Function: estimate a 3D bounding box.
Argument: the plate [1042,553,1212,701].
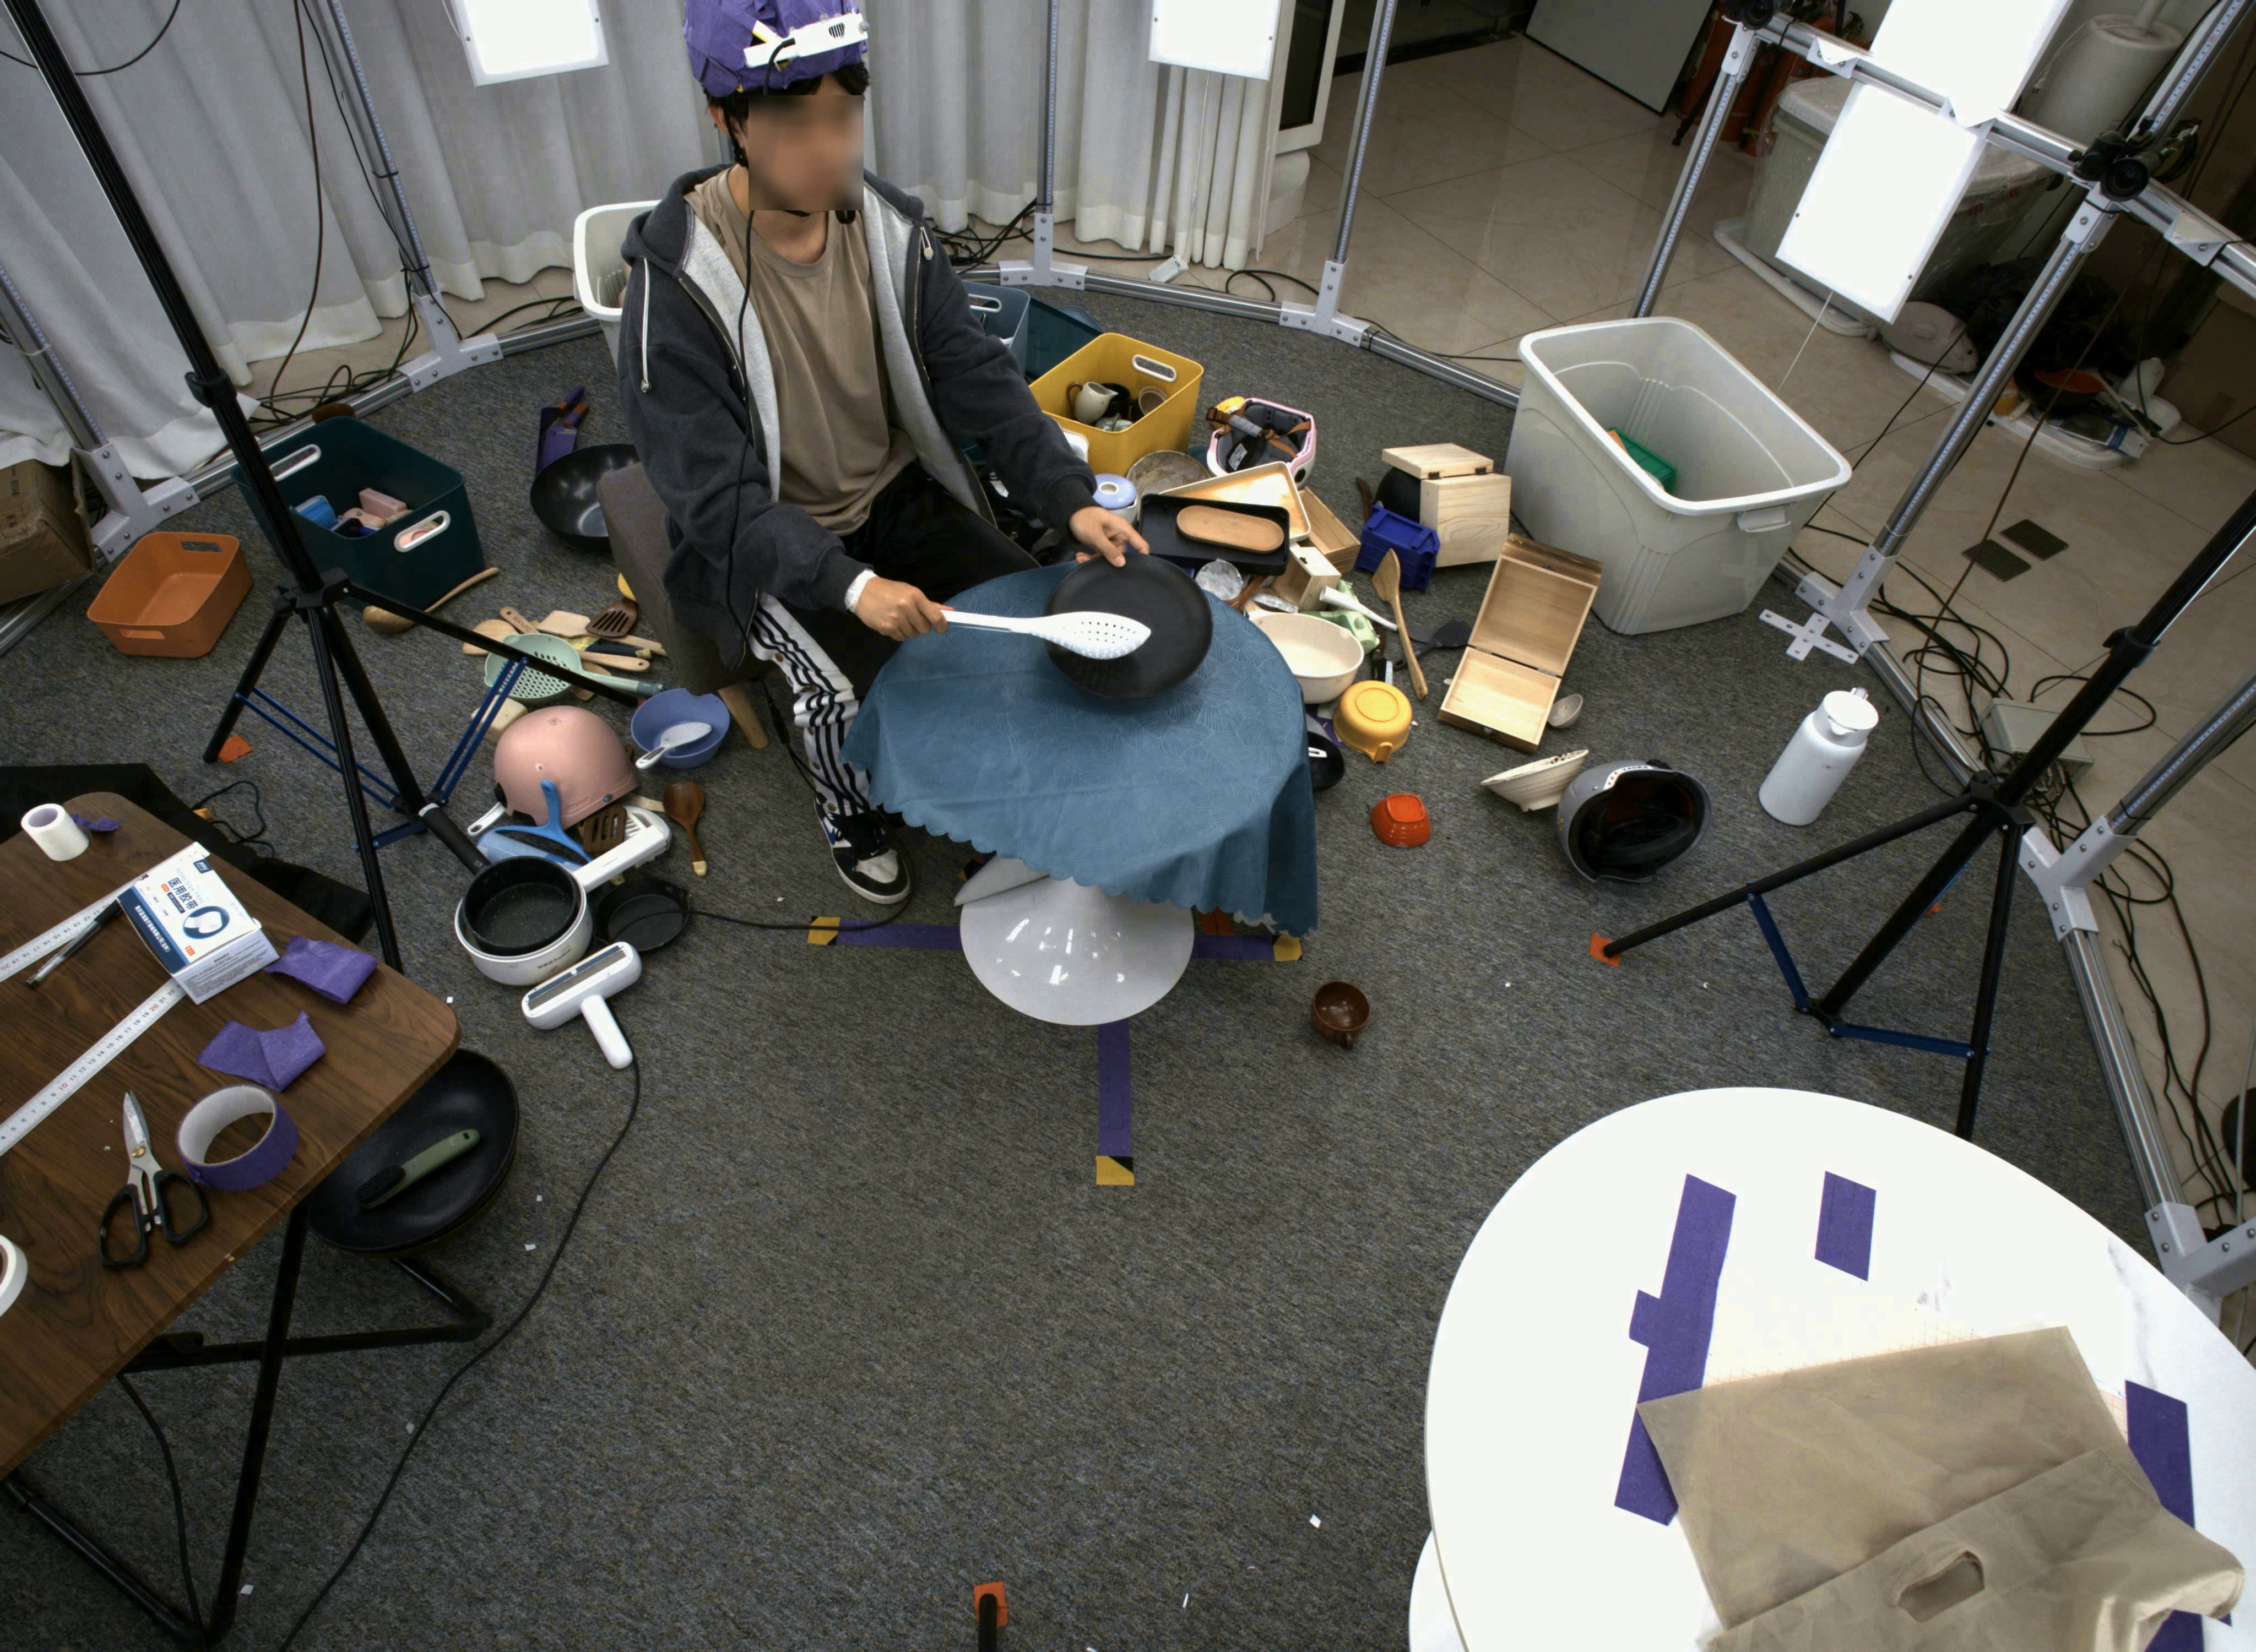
[{"bbox_3d":[-0.001,-0.282,1.833,0.244,0.023,0.249,0,65,0],"label":"plate"}]

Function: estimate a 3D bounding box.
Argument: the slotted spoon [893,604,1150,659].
[{"bbox_3d":[-0.145,-0.275,1.757,0.350,0.134,0.046,11,79,3],"label":"slotted spoon"}]
